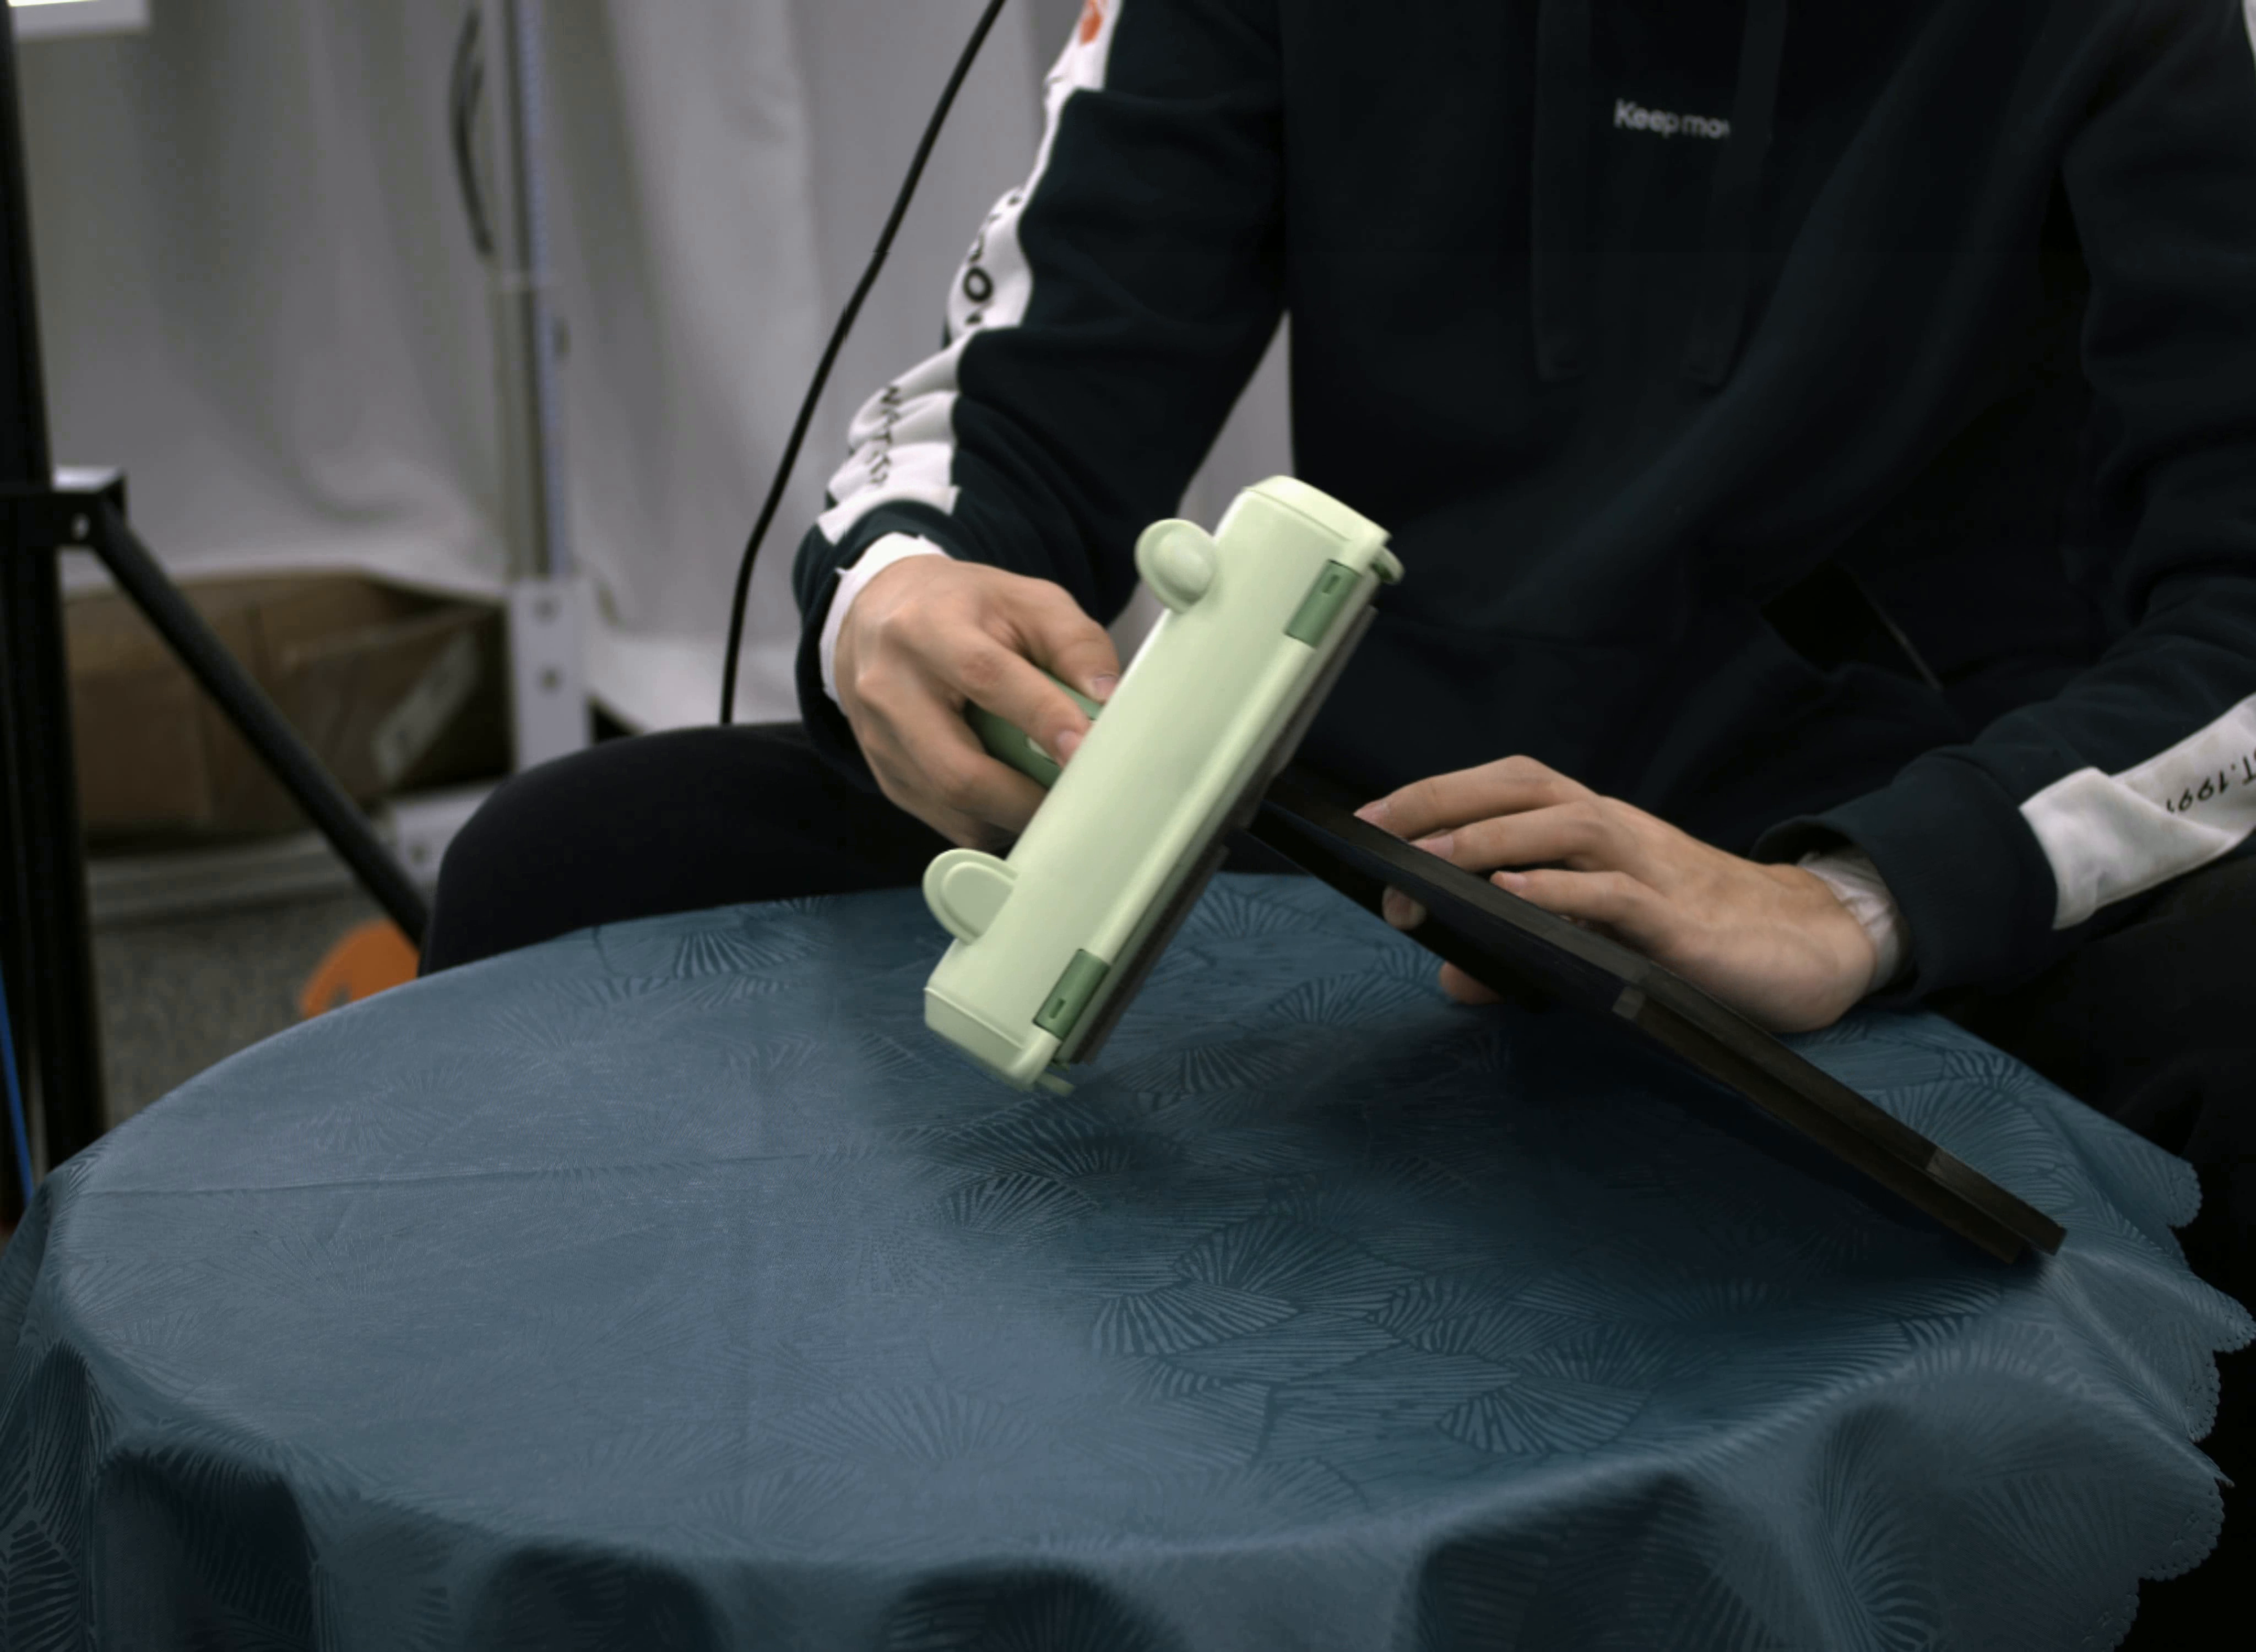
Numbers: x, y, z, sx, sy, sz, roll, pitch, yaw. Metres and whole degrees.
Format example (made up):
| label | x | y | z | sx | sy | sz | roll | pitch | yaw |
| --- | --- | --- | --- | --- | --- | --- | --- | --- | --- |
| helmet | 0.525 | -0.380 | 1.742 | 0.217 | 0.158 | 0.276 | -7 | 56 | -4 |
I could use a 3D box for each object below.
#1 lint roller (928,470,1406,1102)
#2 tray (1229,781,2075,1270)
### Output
| label | x | y | z | sx | sy | sz | roll | pitch | yaw |
| --- | --- | --- | --- | --- | --- | --- | --- | --- | --- |
| lint roller | -0.023 | -0.030 | 1.607 | 0.080 | 0.199 | 0.187 | 36 | -5 | -37 |
| tray | 0.136 | 0.050 | 1.549 | 0.166 | 0.018 | 0.312 | 32 | -2 | -29 |
